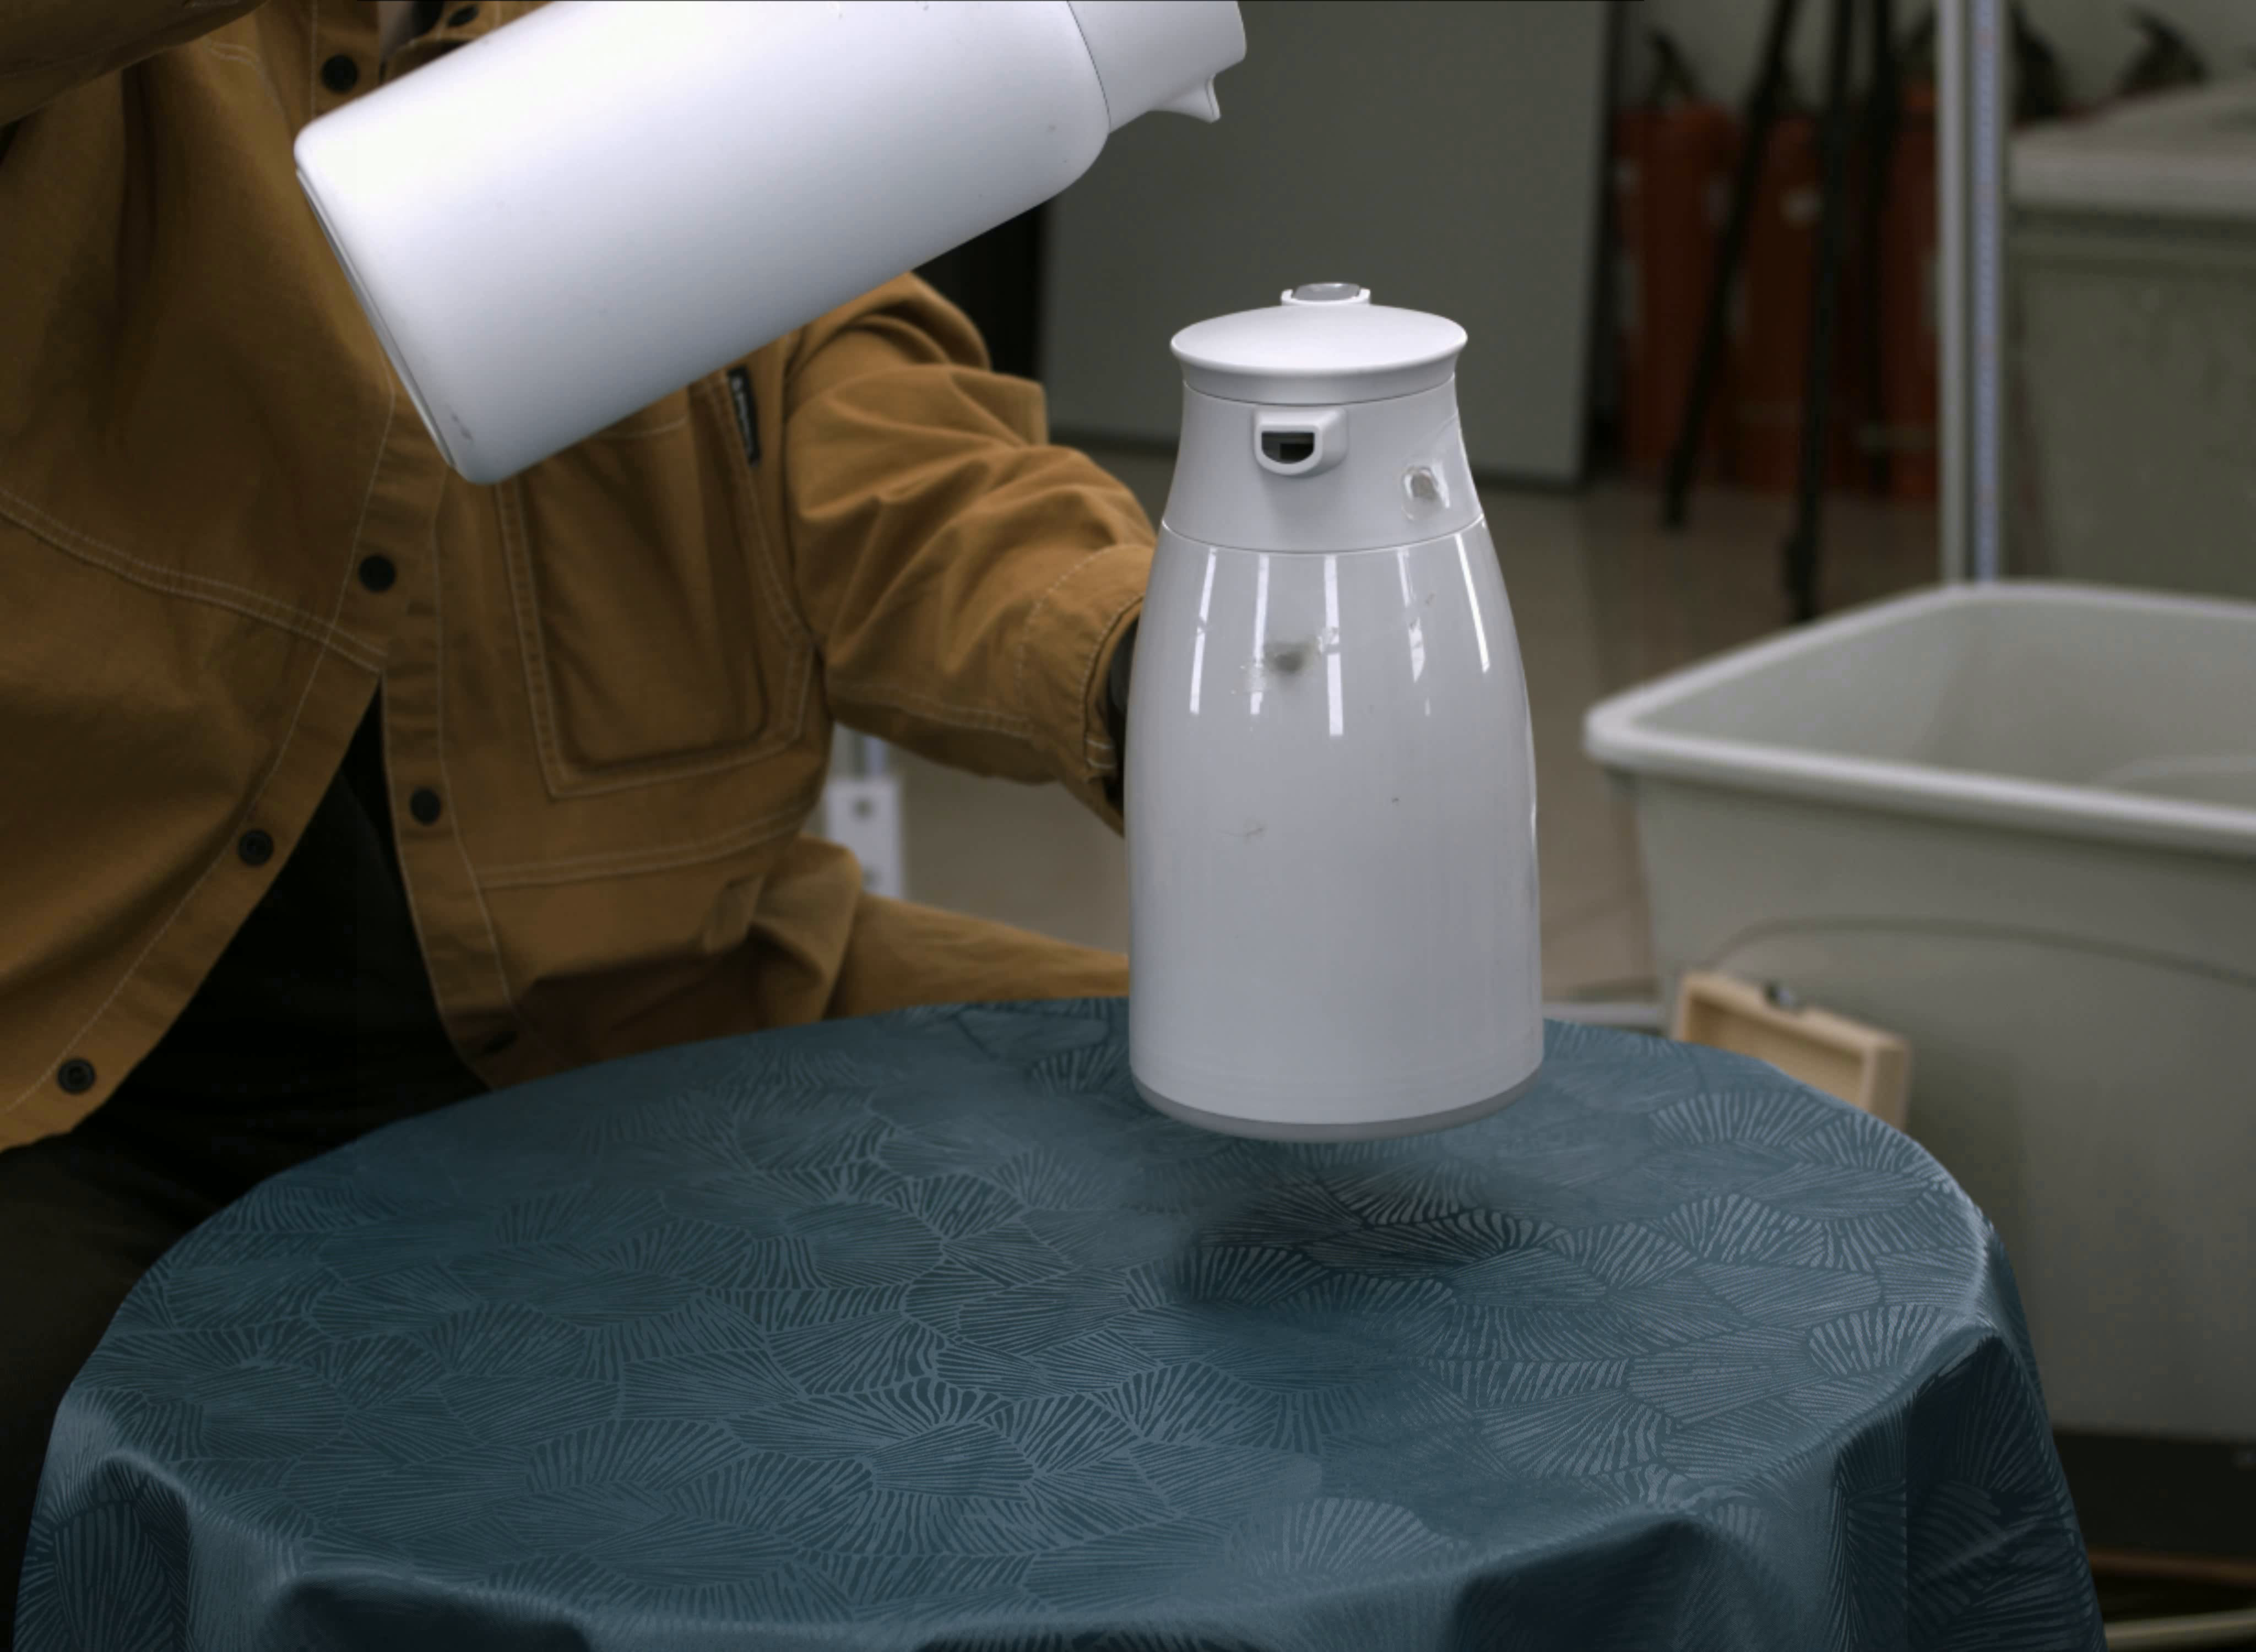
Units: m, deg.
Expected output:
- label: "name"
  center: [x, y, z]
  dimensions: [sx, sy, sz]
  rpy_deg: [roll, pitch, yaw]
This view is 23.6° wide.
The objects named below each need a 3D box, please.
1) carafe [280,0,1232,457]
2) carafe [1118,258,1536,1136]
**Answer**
- label: "carafe"
  center: [-0.111, -0.229, 1.569]
  dimensions: [0.266, 0.172, 0.125]
  rpy_deg: [-26, 33, -3]
- label: "carafe"
  center: [0.062, -0.048, 1.692]
  dimensions: [0.131, 0.251, 0.167]
  rpy_deg: [0, 16, 11]
